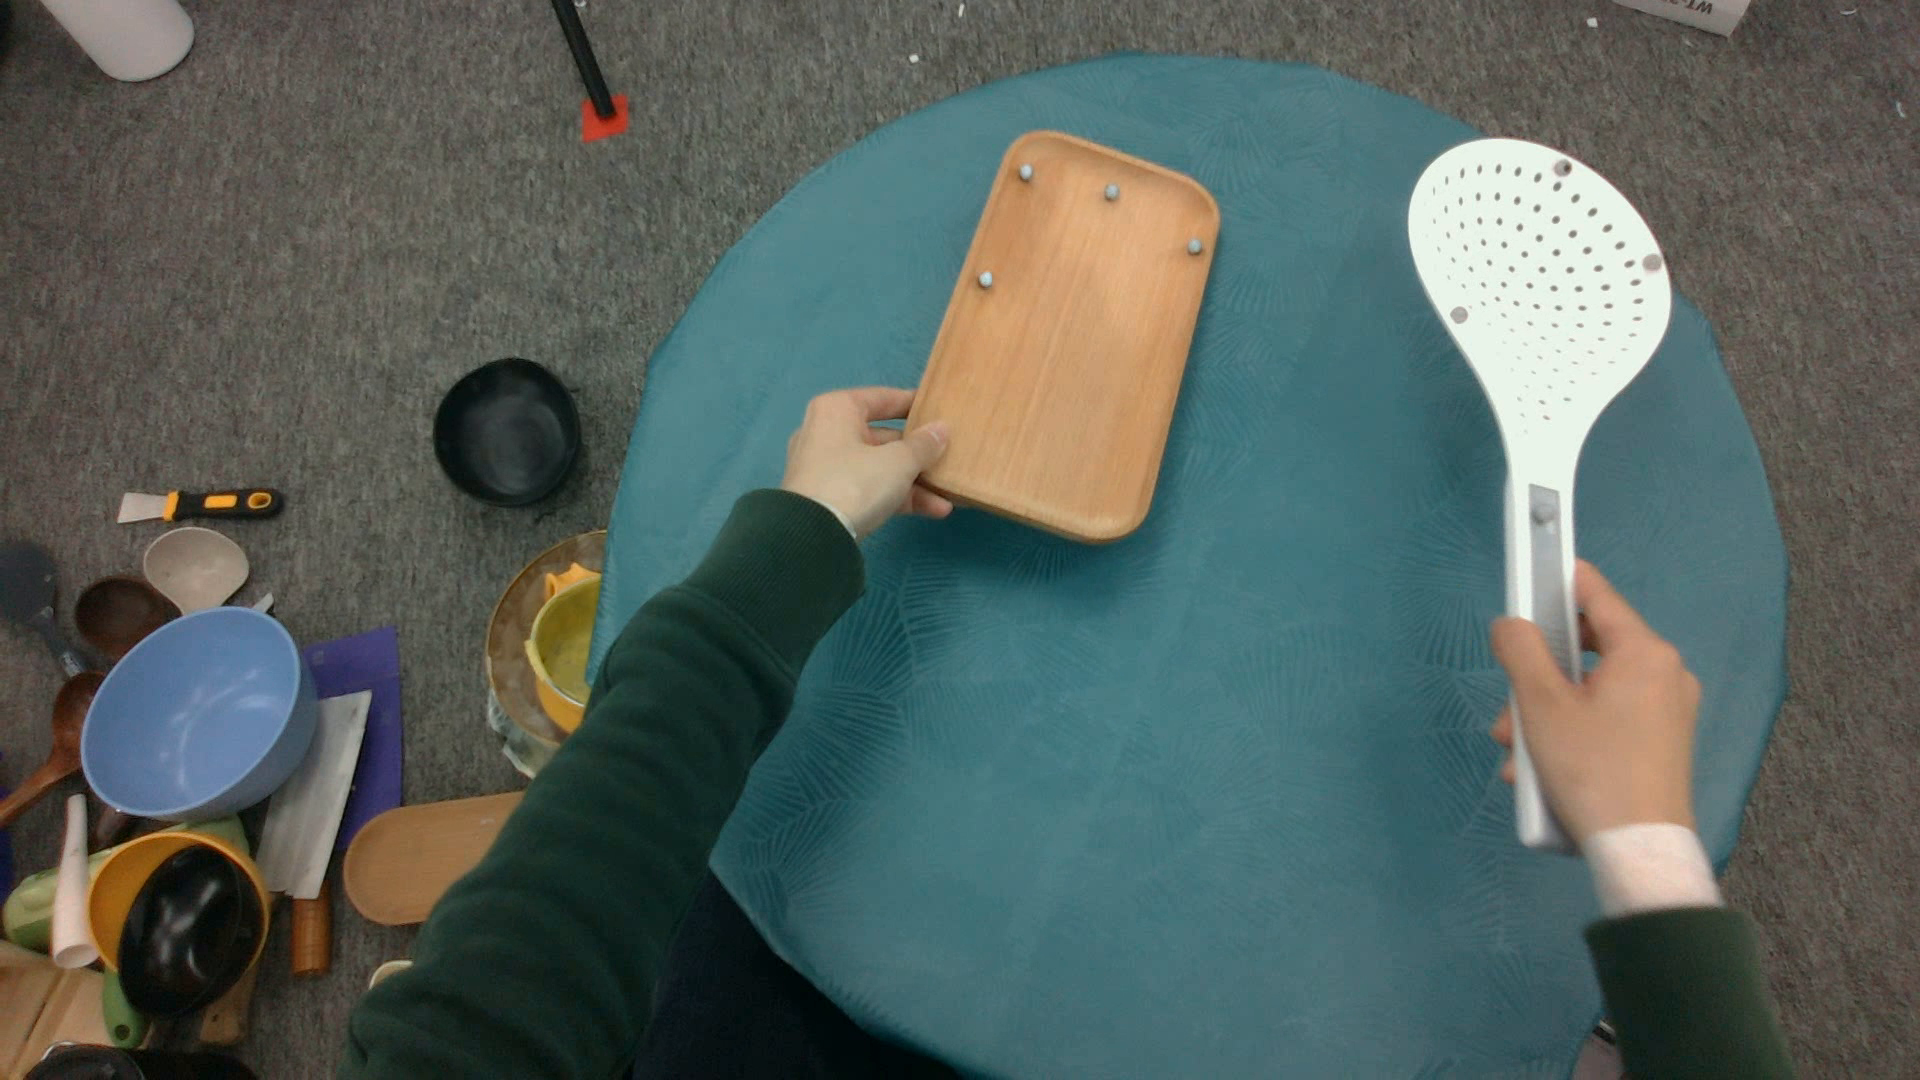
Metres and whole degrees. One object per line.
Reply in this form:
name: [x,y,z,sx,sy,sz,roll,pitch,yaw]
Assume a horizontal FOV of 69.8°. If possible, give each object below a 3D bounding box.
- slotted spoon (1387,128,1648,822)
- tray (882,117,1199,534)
slotted spoon: [0.251,-0.045,0.626,0.136,0.045,0.351,13,60,-6]
tray: [0.047,-0.119,0.724,0.130,0.023,0.252,18,61,0]
